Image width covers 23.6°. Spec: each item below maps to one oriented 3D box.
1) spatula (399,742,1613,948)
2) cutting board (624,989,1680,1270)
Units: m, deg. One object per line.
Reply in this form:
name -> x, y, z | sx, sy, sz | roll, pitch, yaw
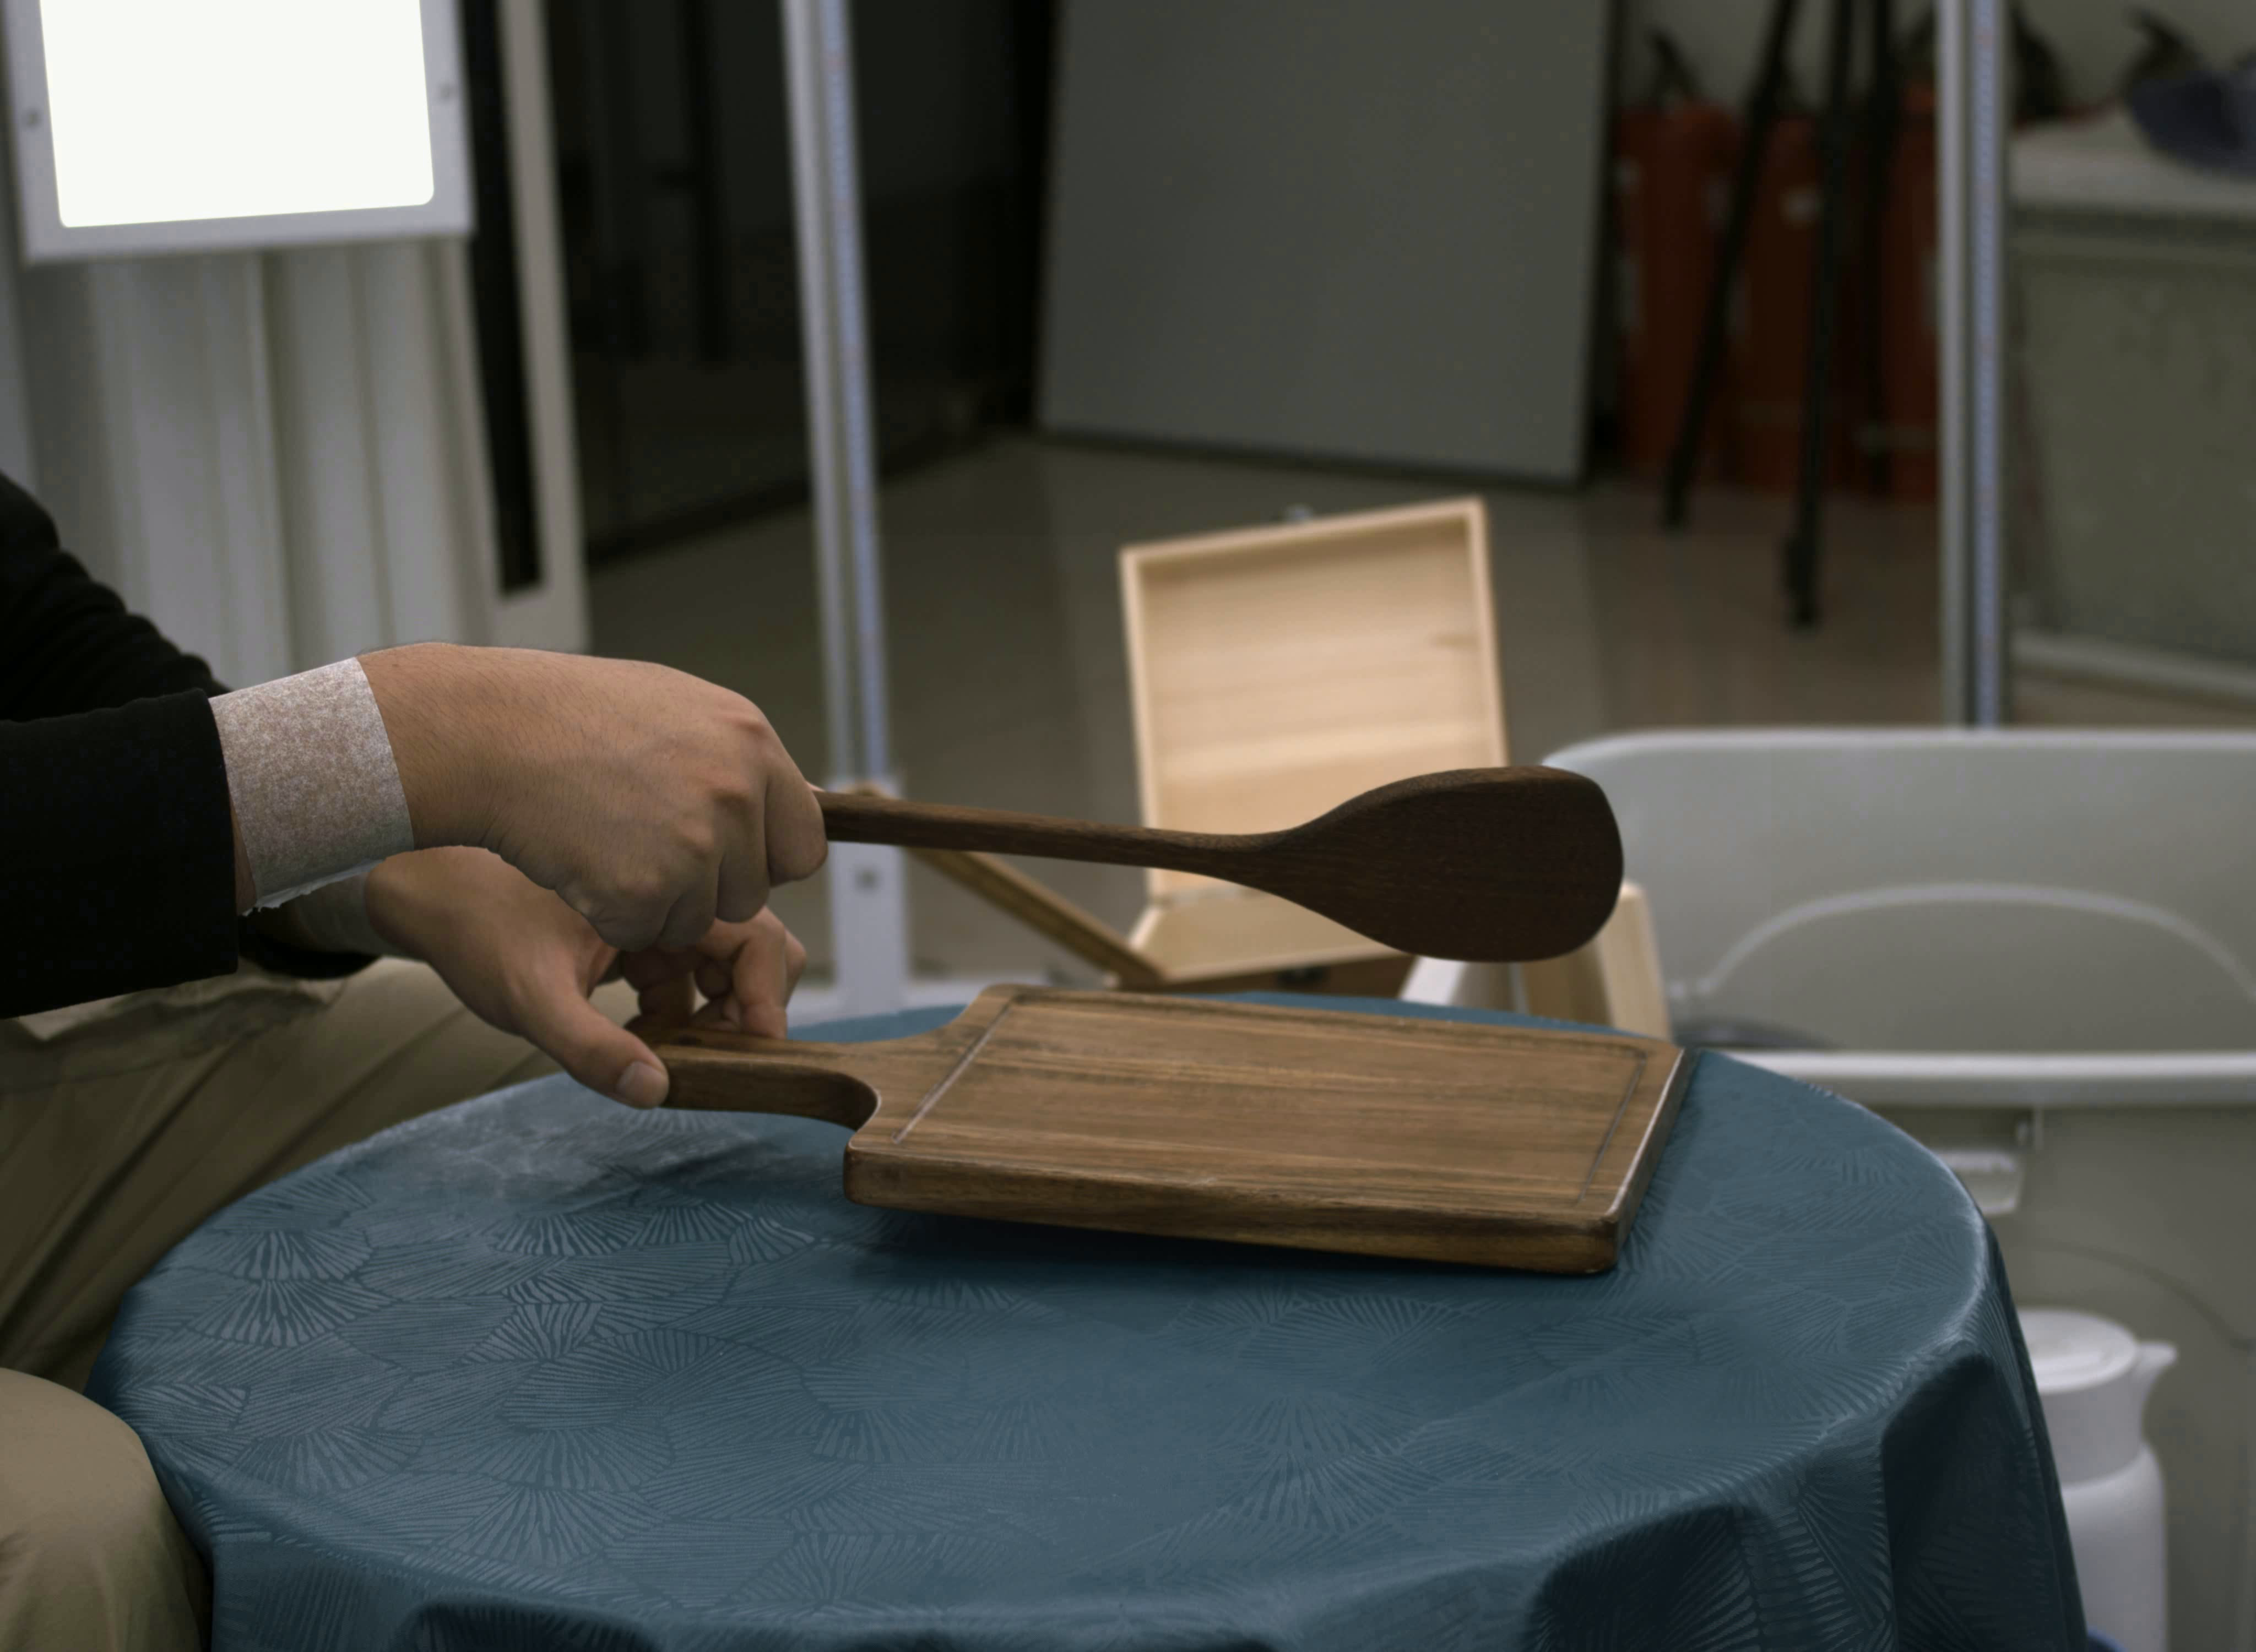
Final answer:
spatula -> -0.039, -0.003, 1.686 | 0.382, 0.096, 0.016 | 5, 52, 7
cutting board -> 0.002, 0.093, 1.782 | 0.350, 0.023, 0.200 | 4, 15, 13
